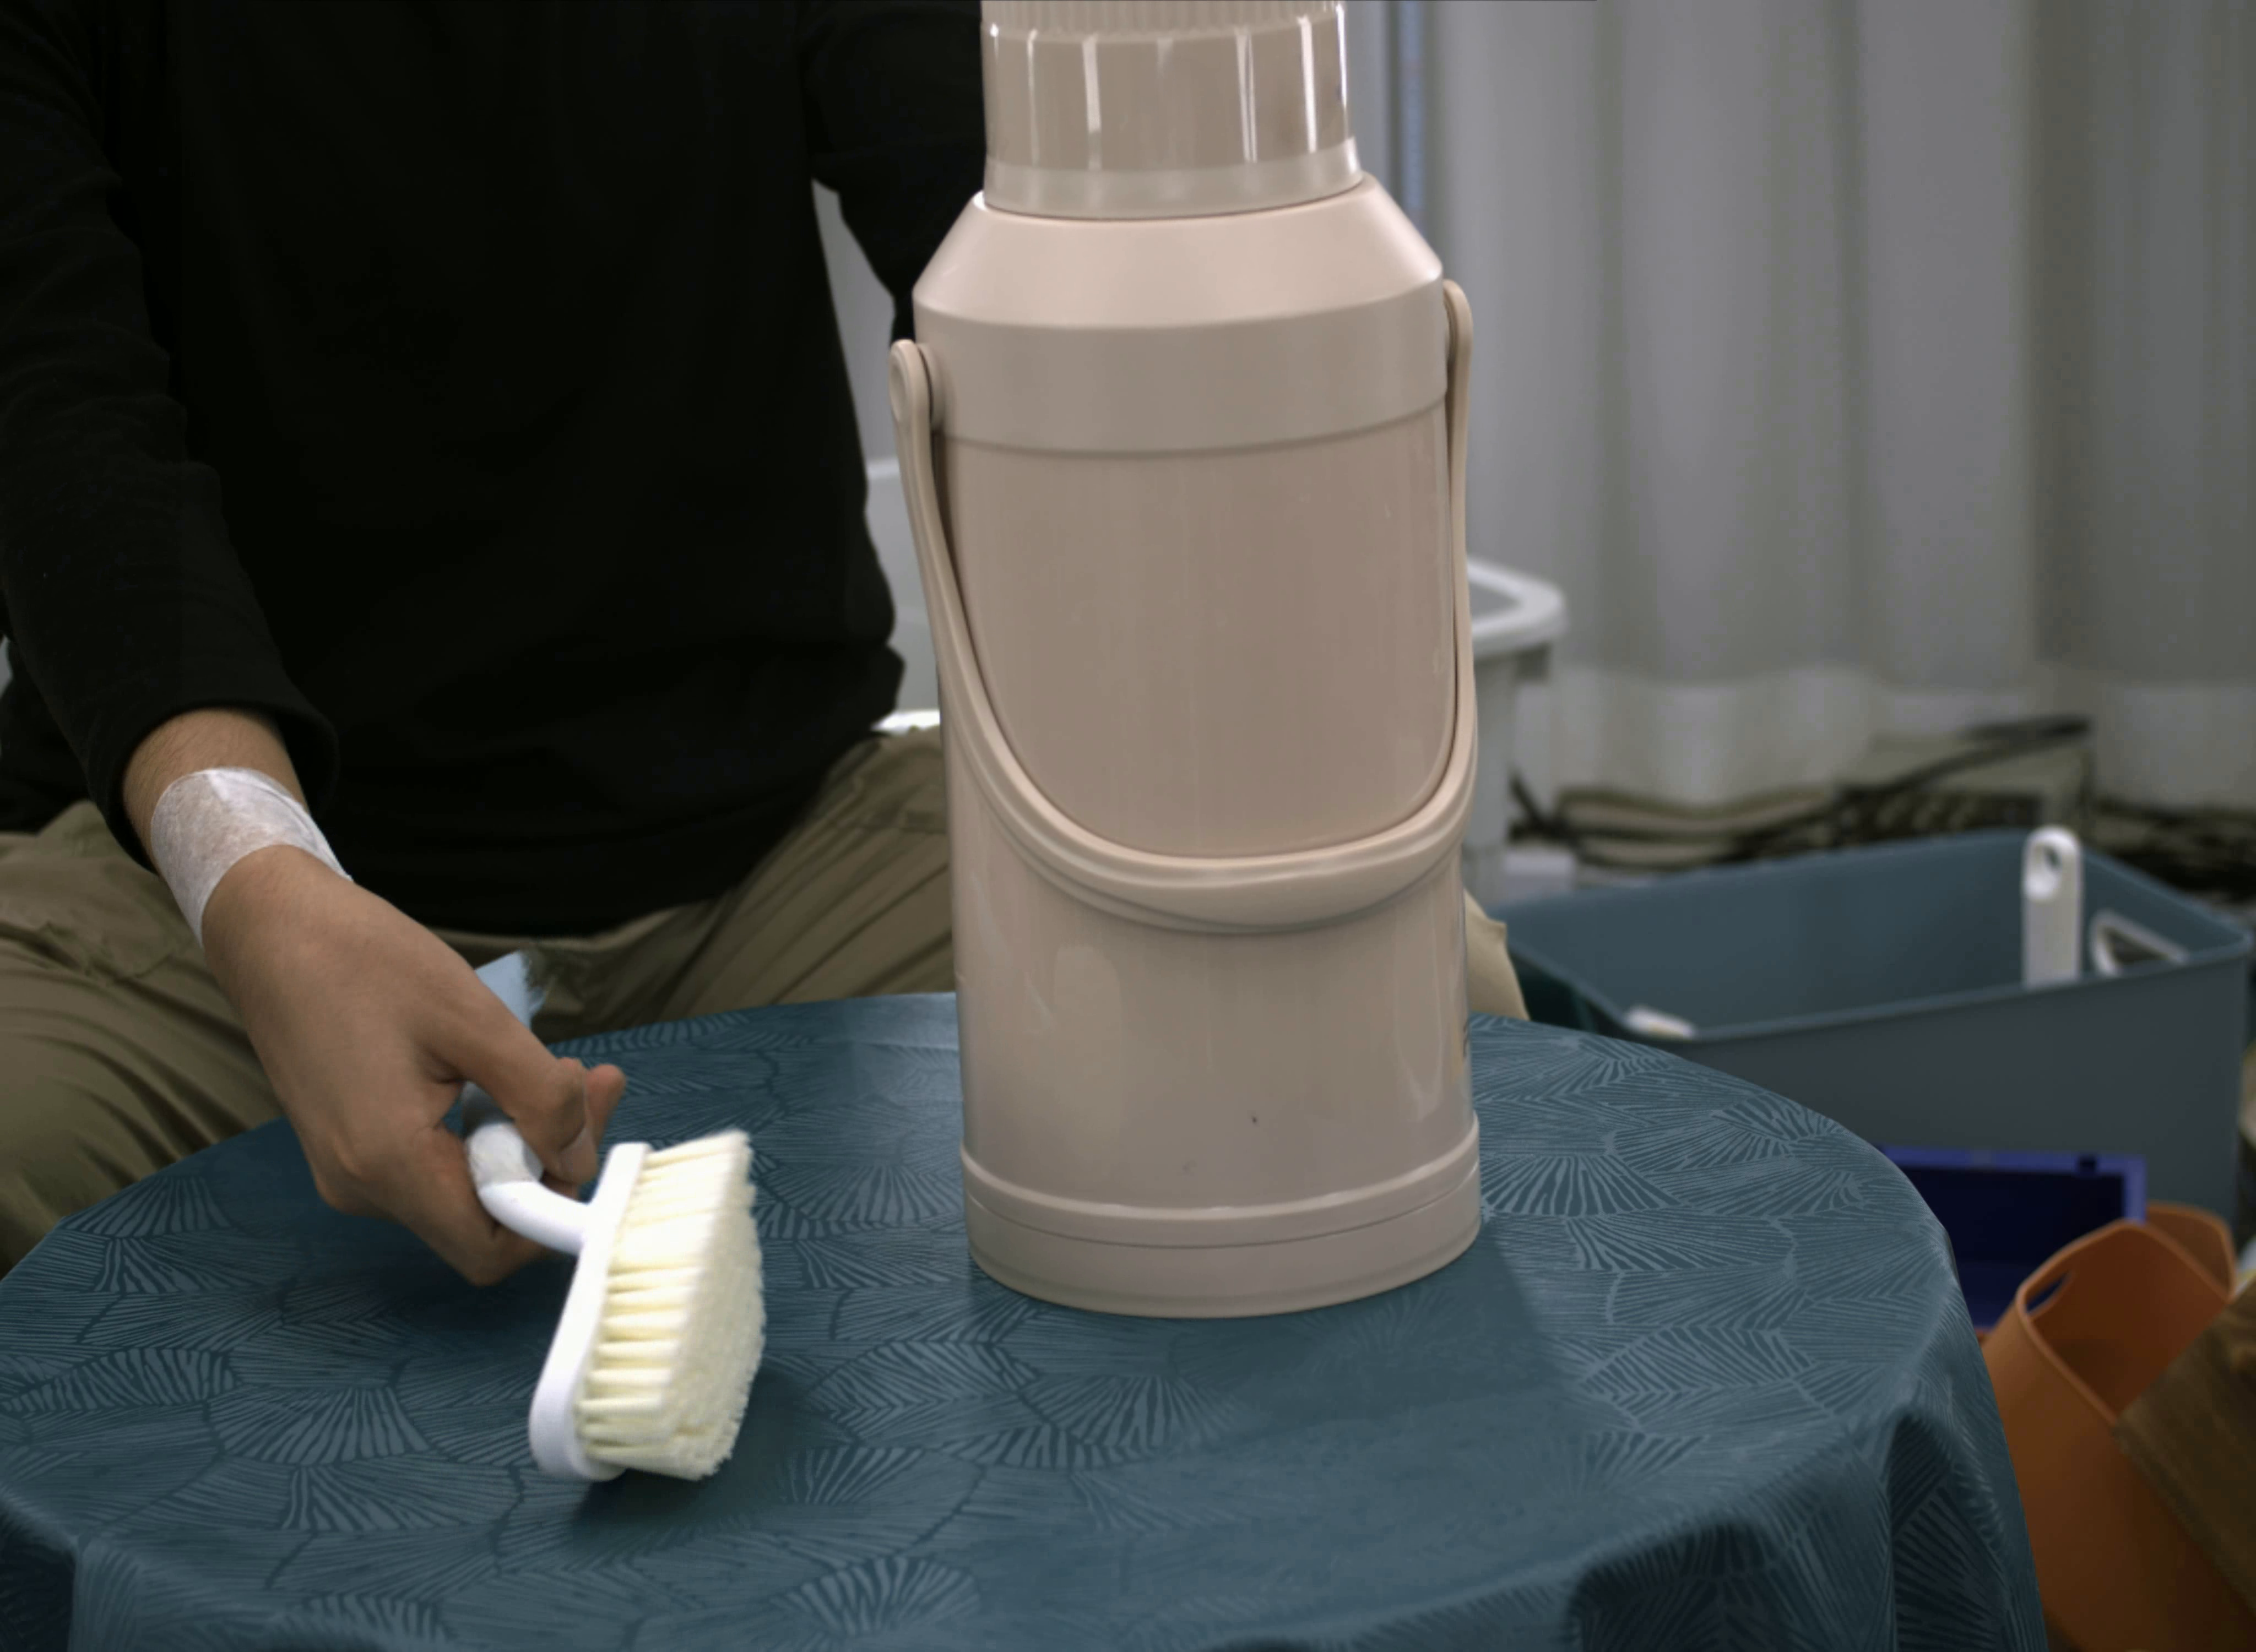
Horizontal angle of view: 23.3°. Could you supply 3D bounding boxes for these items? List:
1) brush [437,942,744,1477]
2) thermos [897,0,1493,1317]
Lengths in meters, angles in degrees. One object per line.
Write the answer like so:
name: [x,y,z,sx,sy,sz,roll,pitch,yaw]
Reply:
brush: [-0.148,0.098,1.611,0.084,0.083,0.329,29,15,-18]
thermos: [0.019,-0.071,1.642,0.174,0.404,0.208,-9,15,-18]
